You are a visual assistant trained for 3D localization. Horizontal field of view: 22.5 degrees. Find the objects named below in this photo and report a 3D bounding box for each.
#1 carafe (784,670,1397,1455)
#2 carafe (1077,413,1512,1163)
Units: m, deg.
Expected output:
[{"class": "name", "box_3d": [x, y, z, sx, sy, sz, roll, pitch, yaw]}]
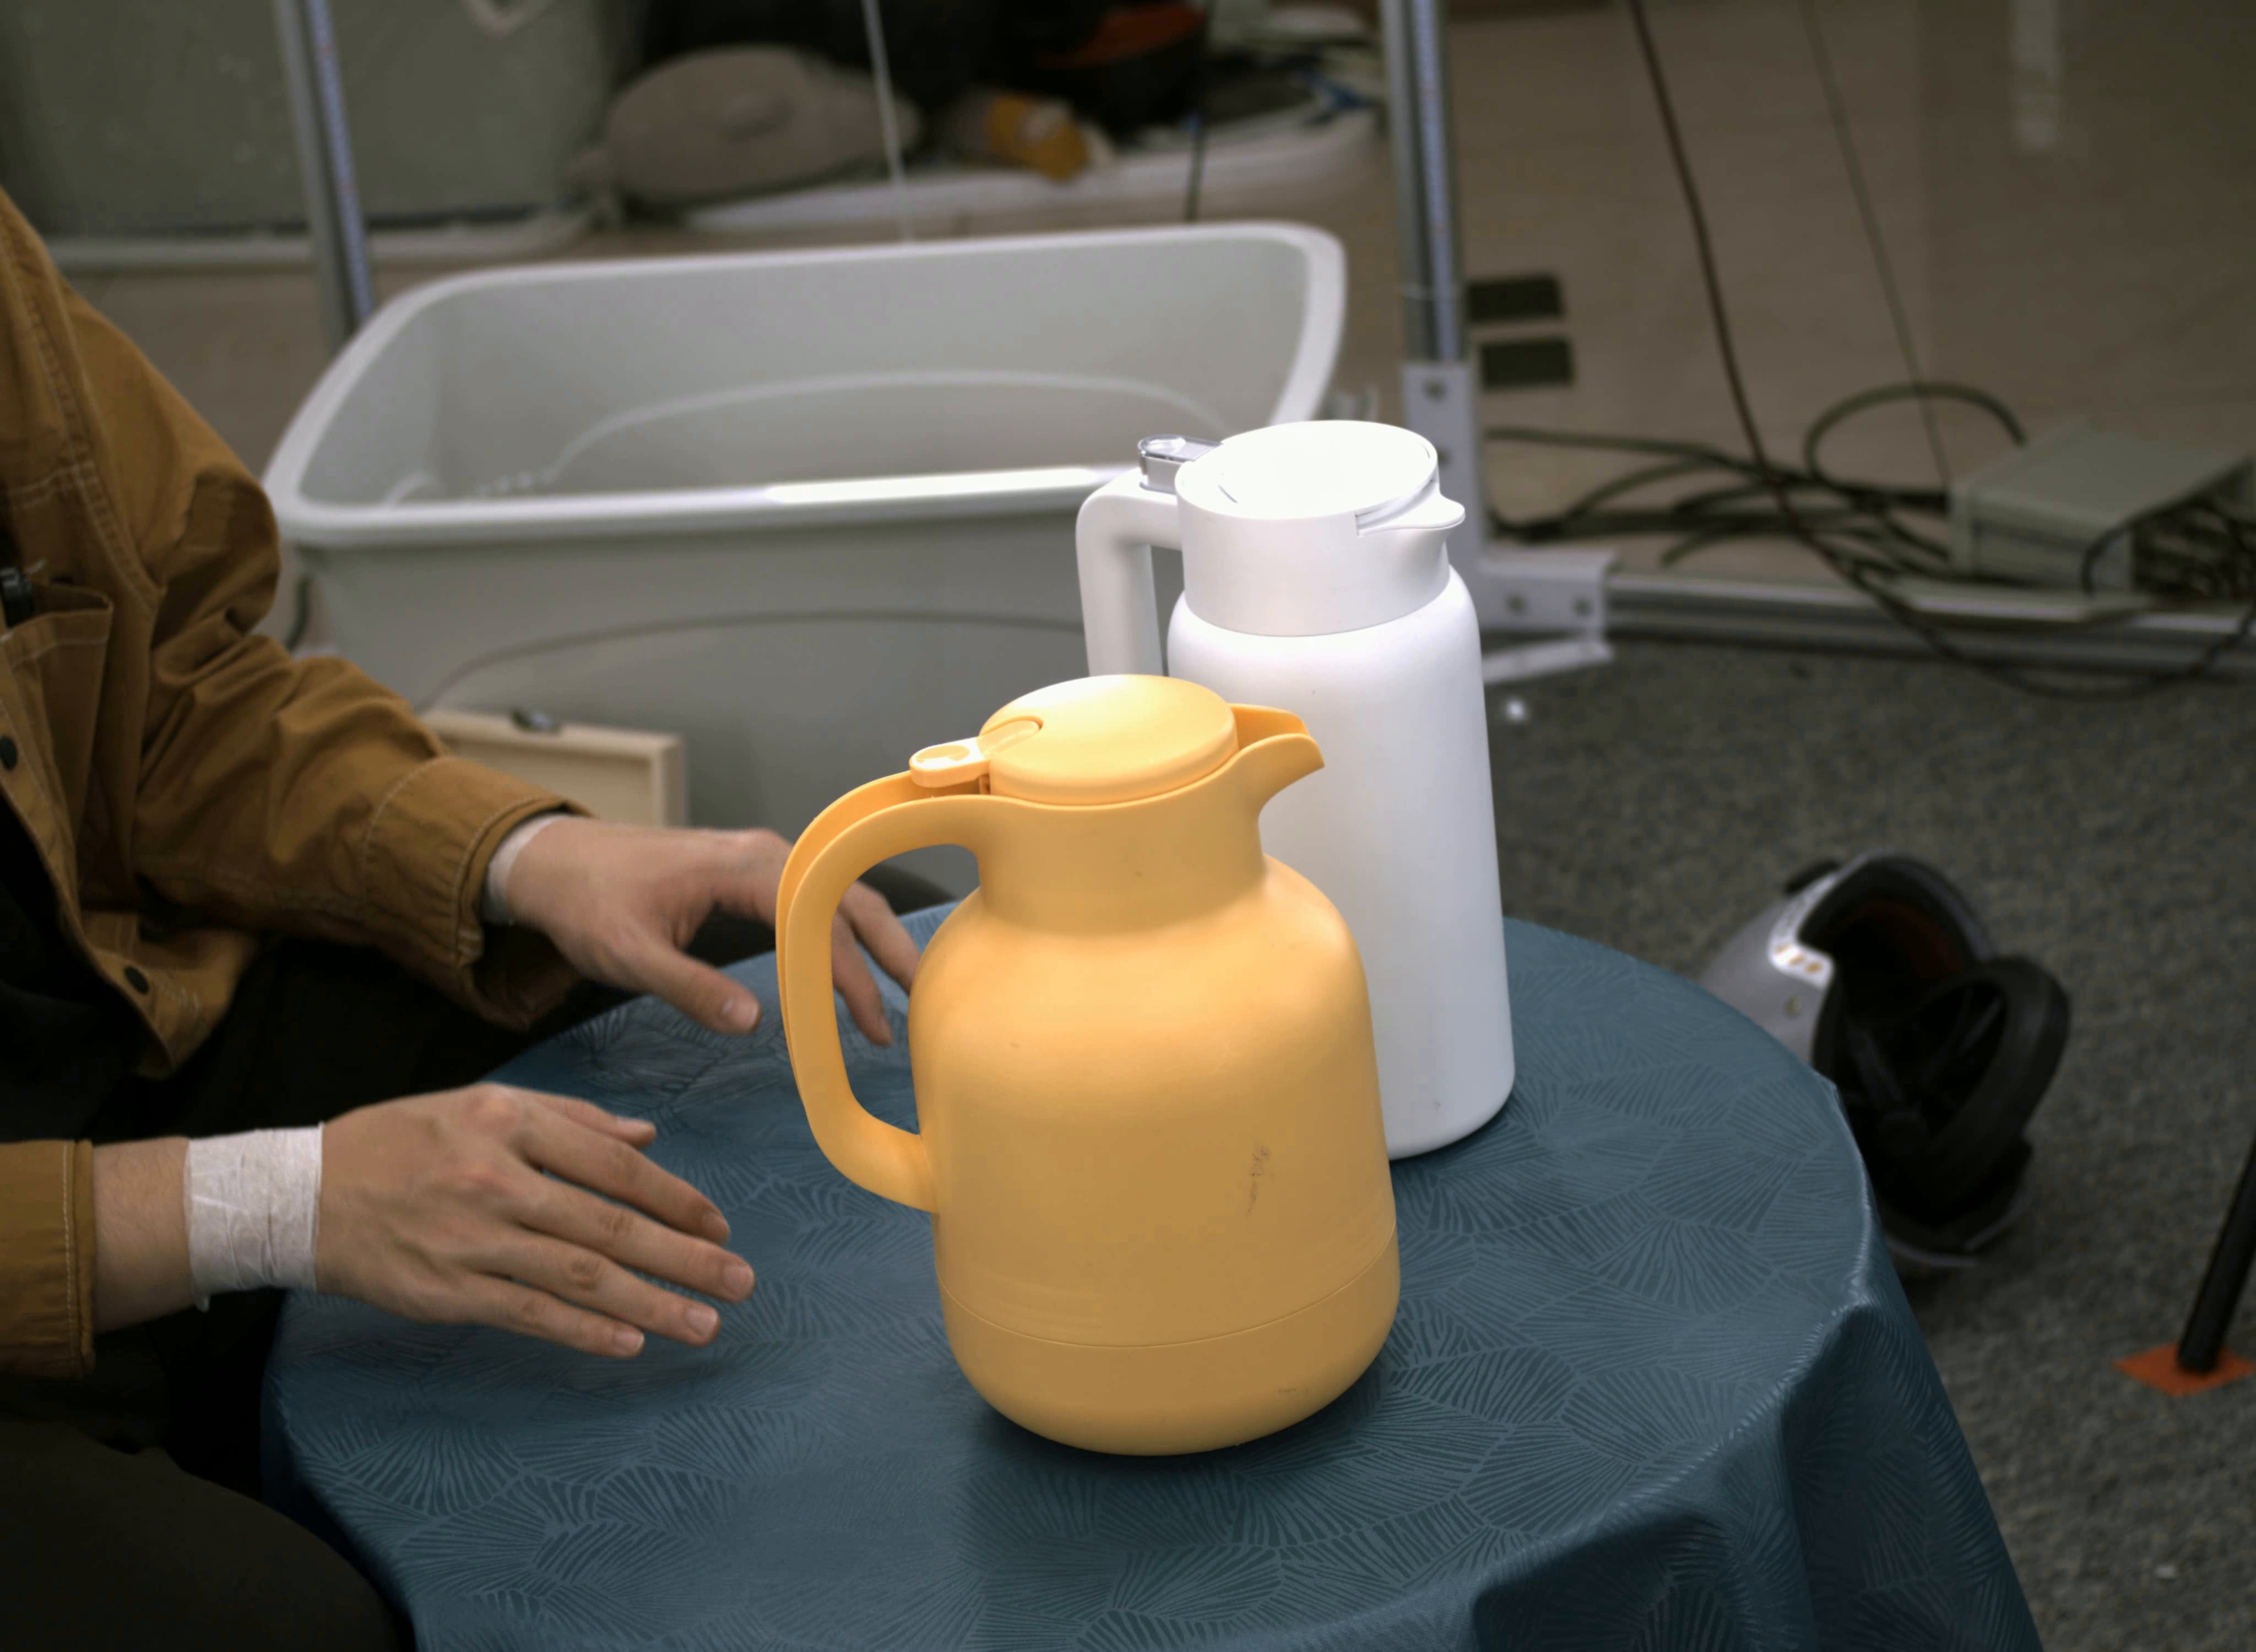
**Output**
[{"class": "carafe", "box_3d": [-0.014, 0.080, 1.965, 0.202, 0.264, 0.161, -8, 23, -6]}, {"class": "carafe", "box_3d": [0.064, -0.015, 2.144, 0.172, 0.273, 0.122, 13, 34, 34]}]
